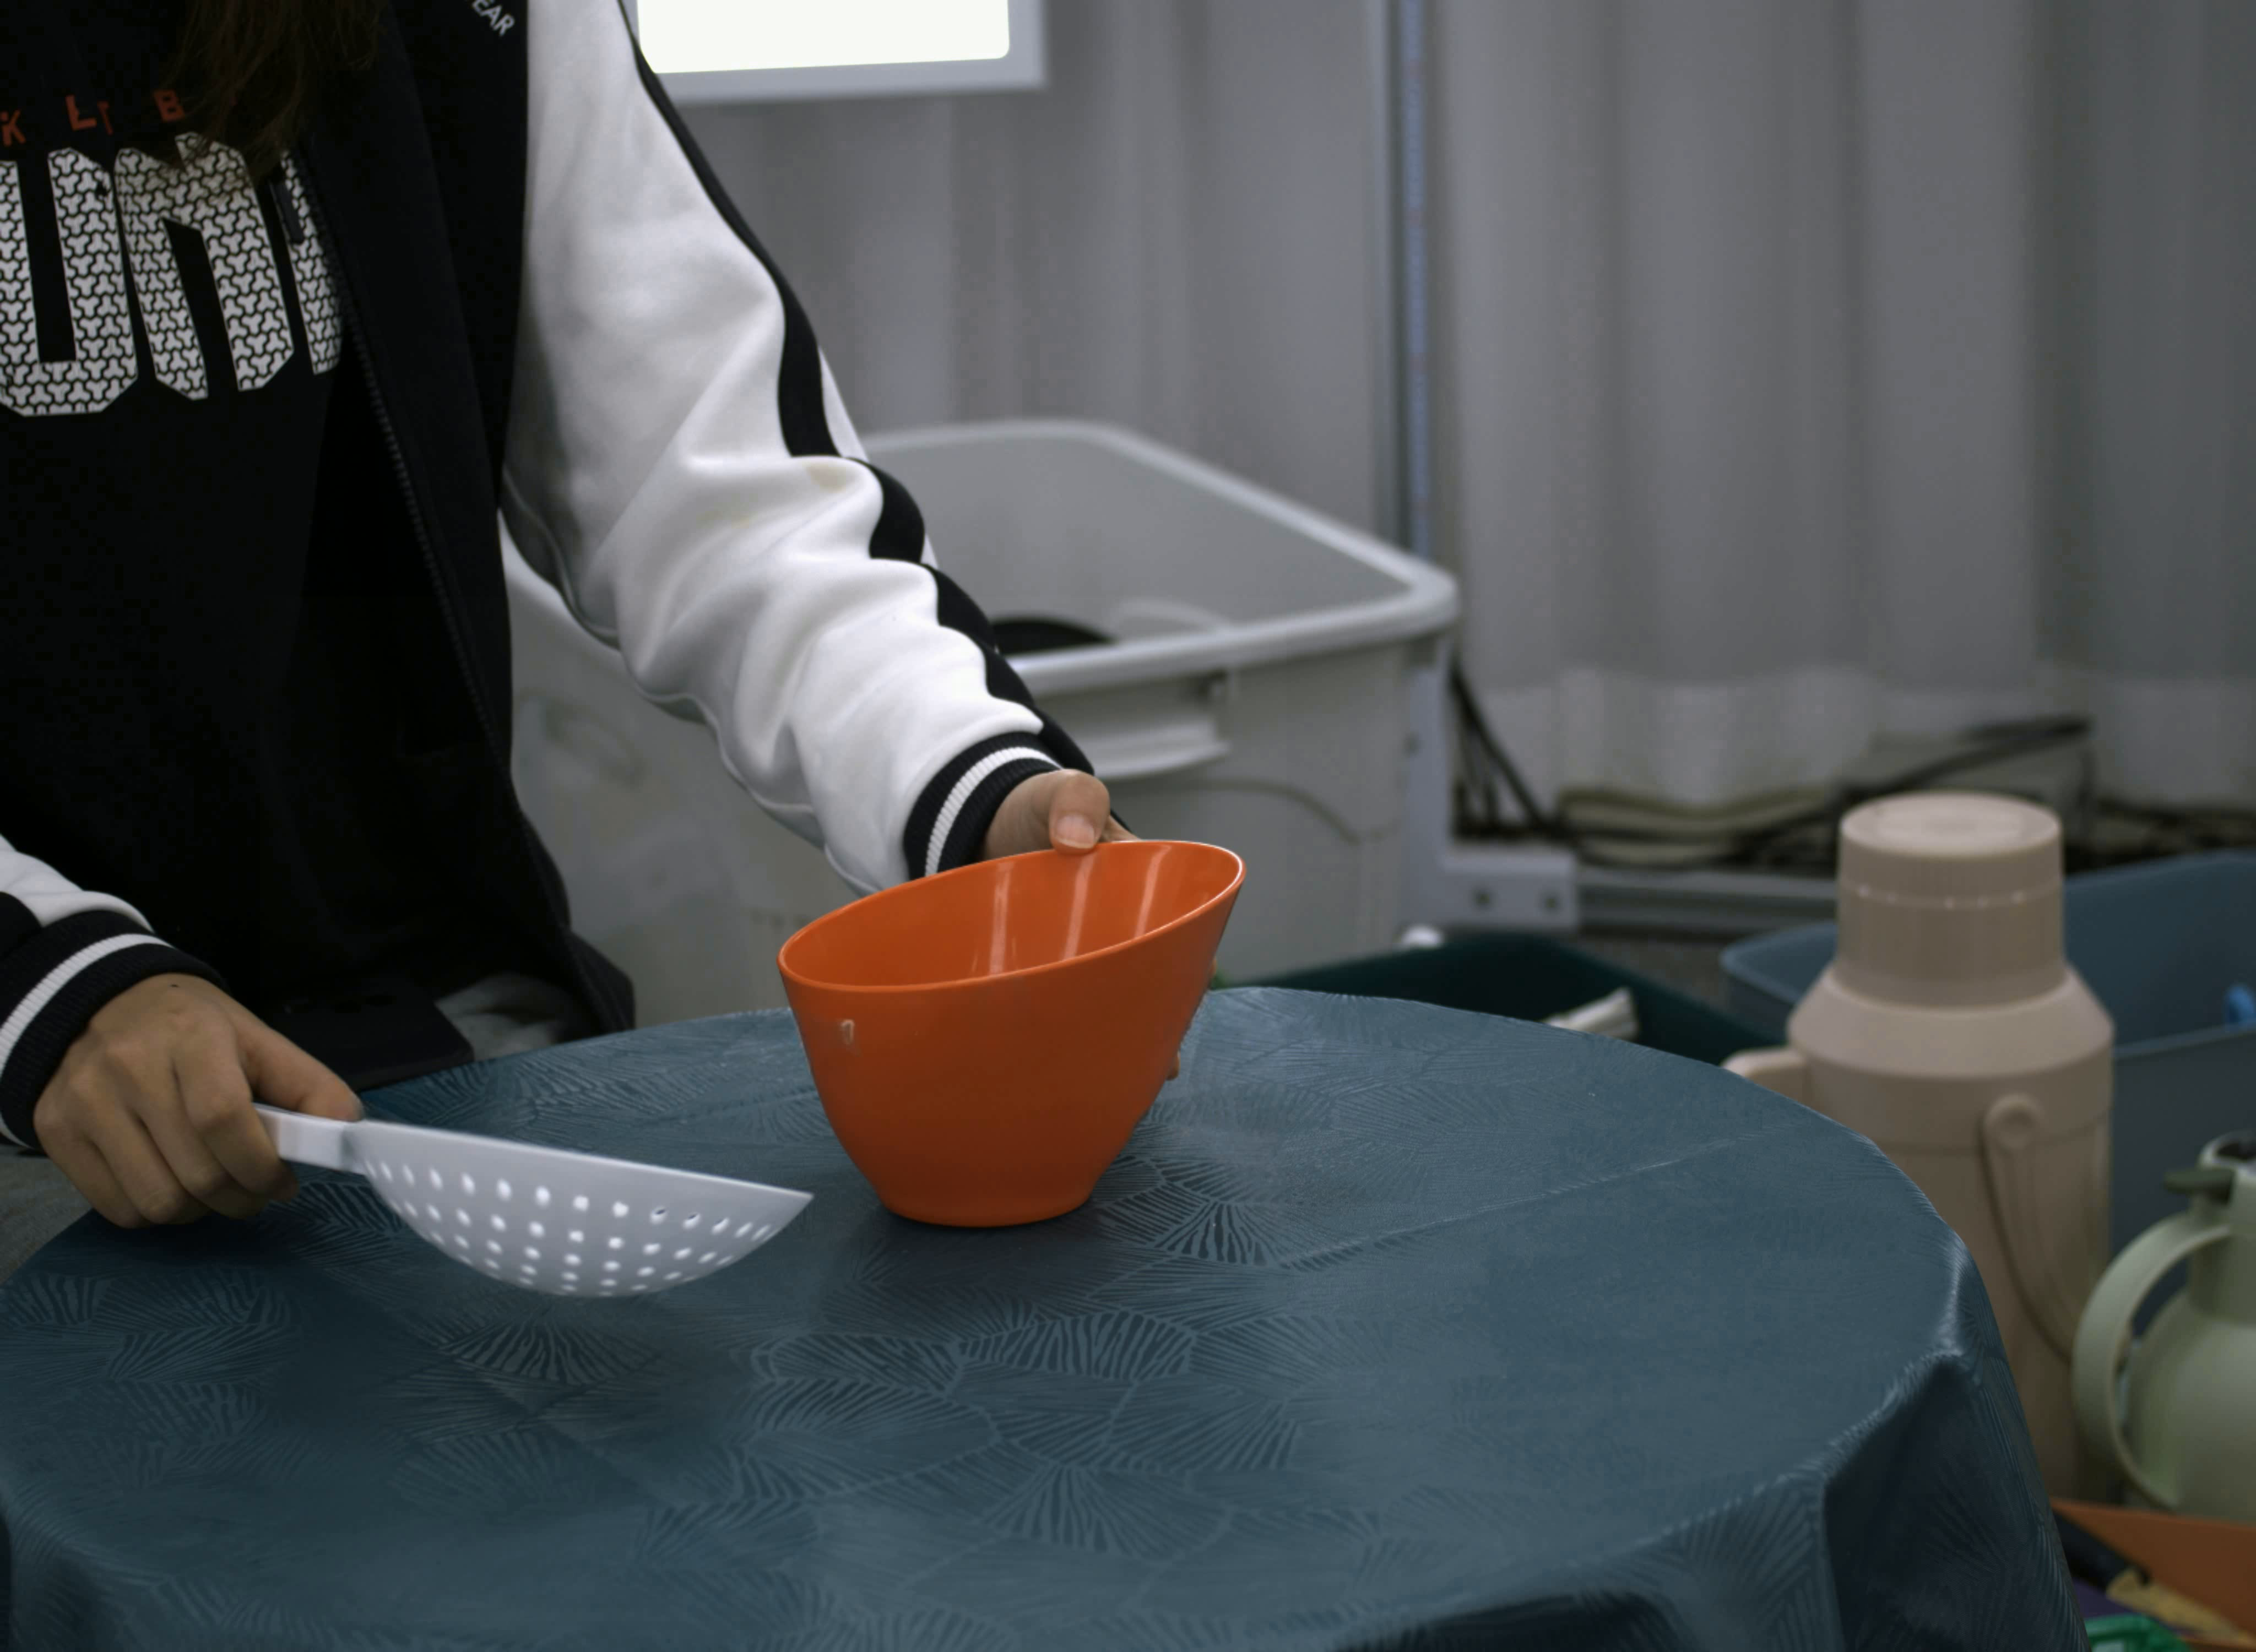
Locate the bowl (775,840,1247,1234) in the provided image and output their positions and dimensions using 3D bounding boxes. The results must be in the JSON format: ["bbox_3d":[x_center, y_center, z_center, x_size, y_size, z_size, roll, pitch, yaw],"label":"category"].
[{"bbox_3d":[-0.035,0.067,1.702,0.147,0.104,0.149,-2,15,0],"label":"bowl"}]

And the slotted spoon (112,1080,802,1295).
[{"bbox_3d":[-0.222,0.097,1.640,0.135,0.046,0.351,16,-3,-34],"label":"slotted spoon"}]
